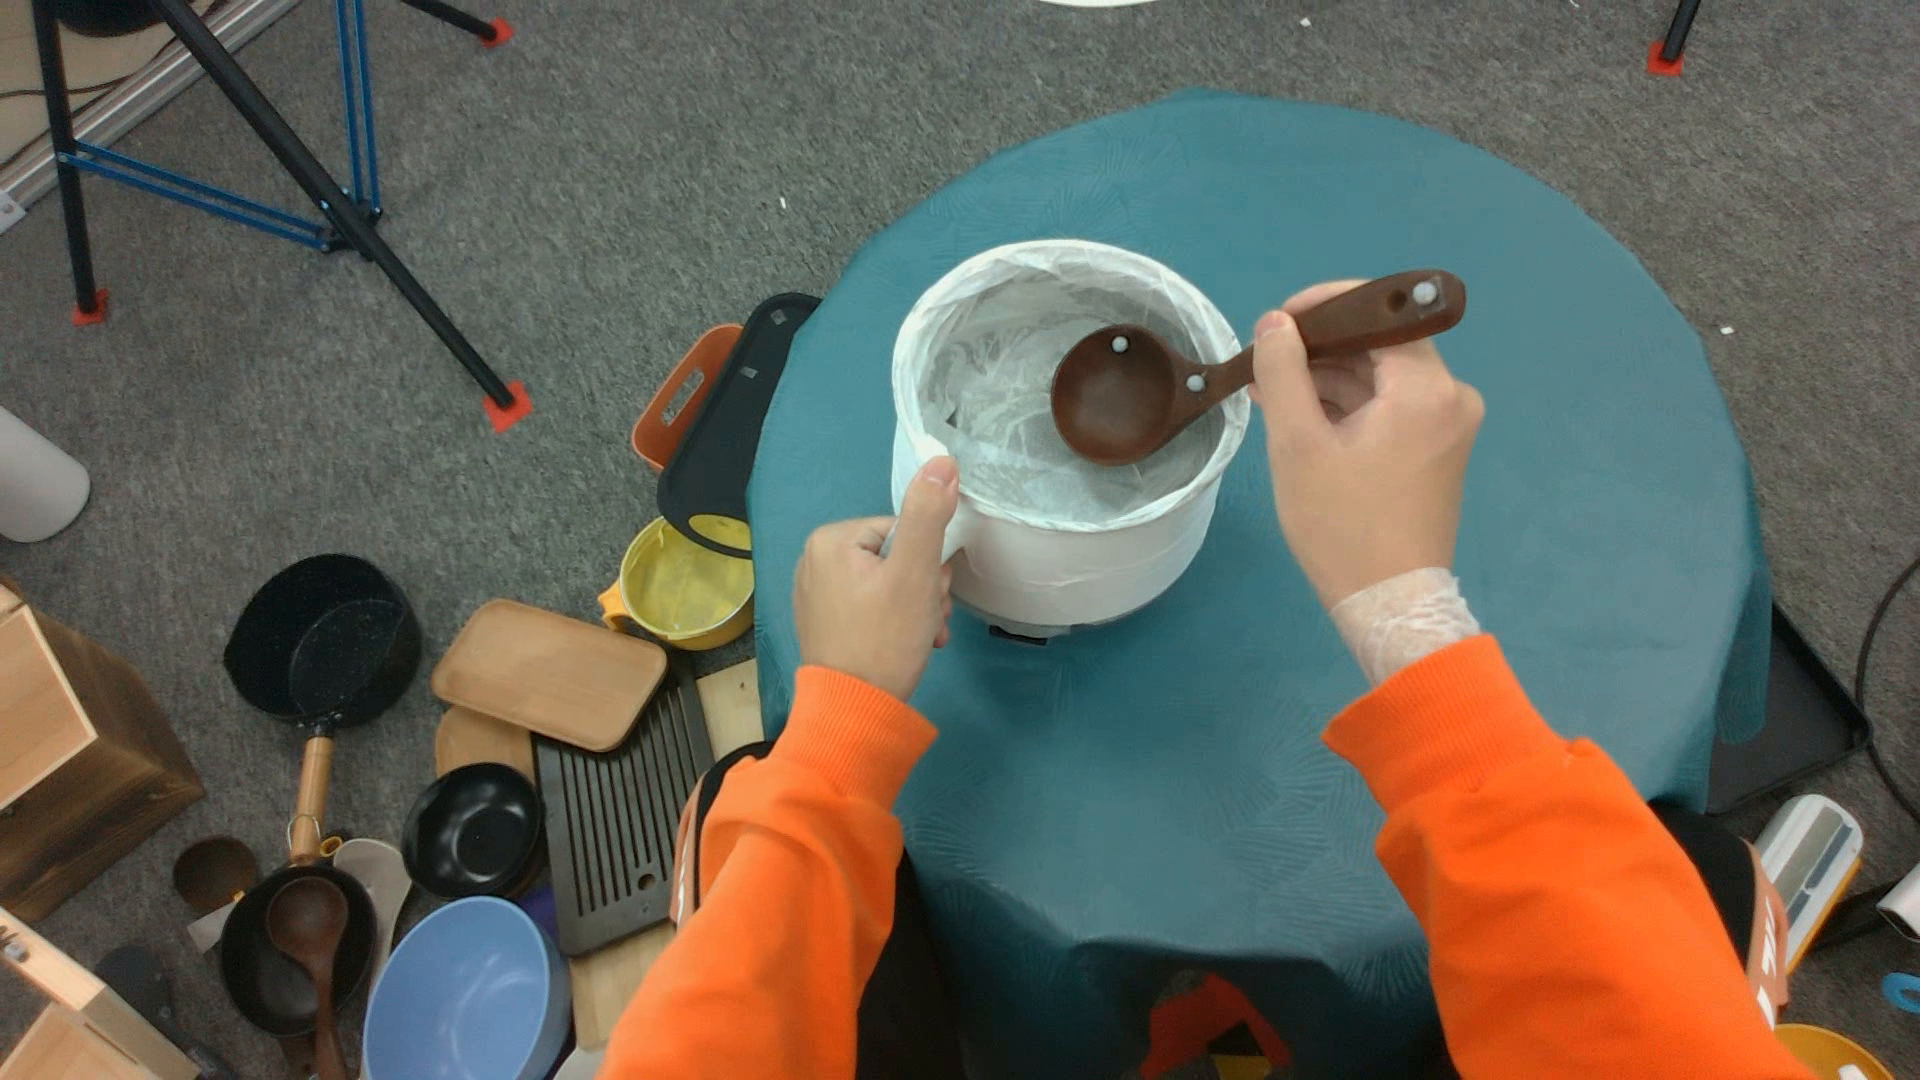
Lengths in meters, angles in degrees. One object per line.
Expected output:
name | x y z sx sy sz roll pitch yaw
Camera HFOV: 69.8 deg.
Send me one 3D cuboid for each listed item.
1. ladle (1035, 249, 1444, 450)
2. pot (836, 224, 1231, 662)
ladle | 0.110 -0.090 0.622 0.065 0.259 0.076 -4 88 -20
pot | 0.025 -0.039 0.717 0.179 0.136 0.234 36 64 17
